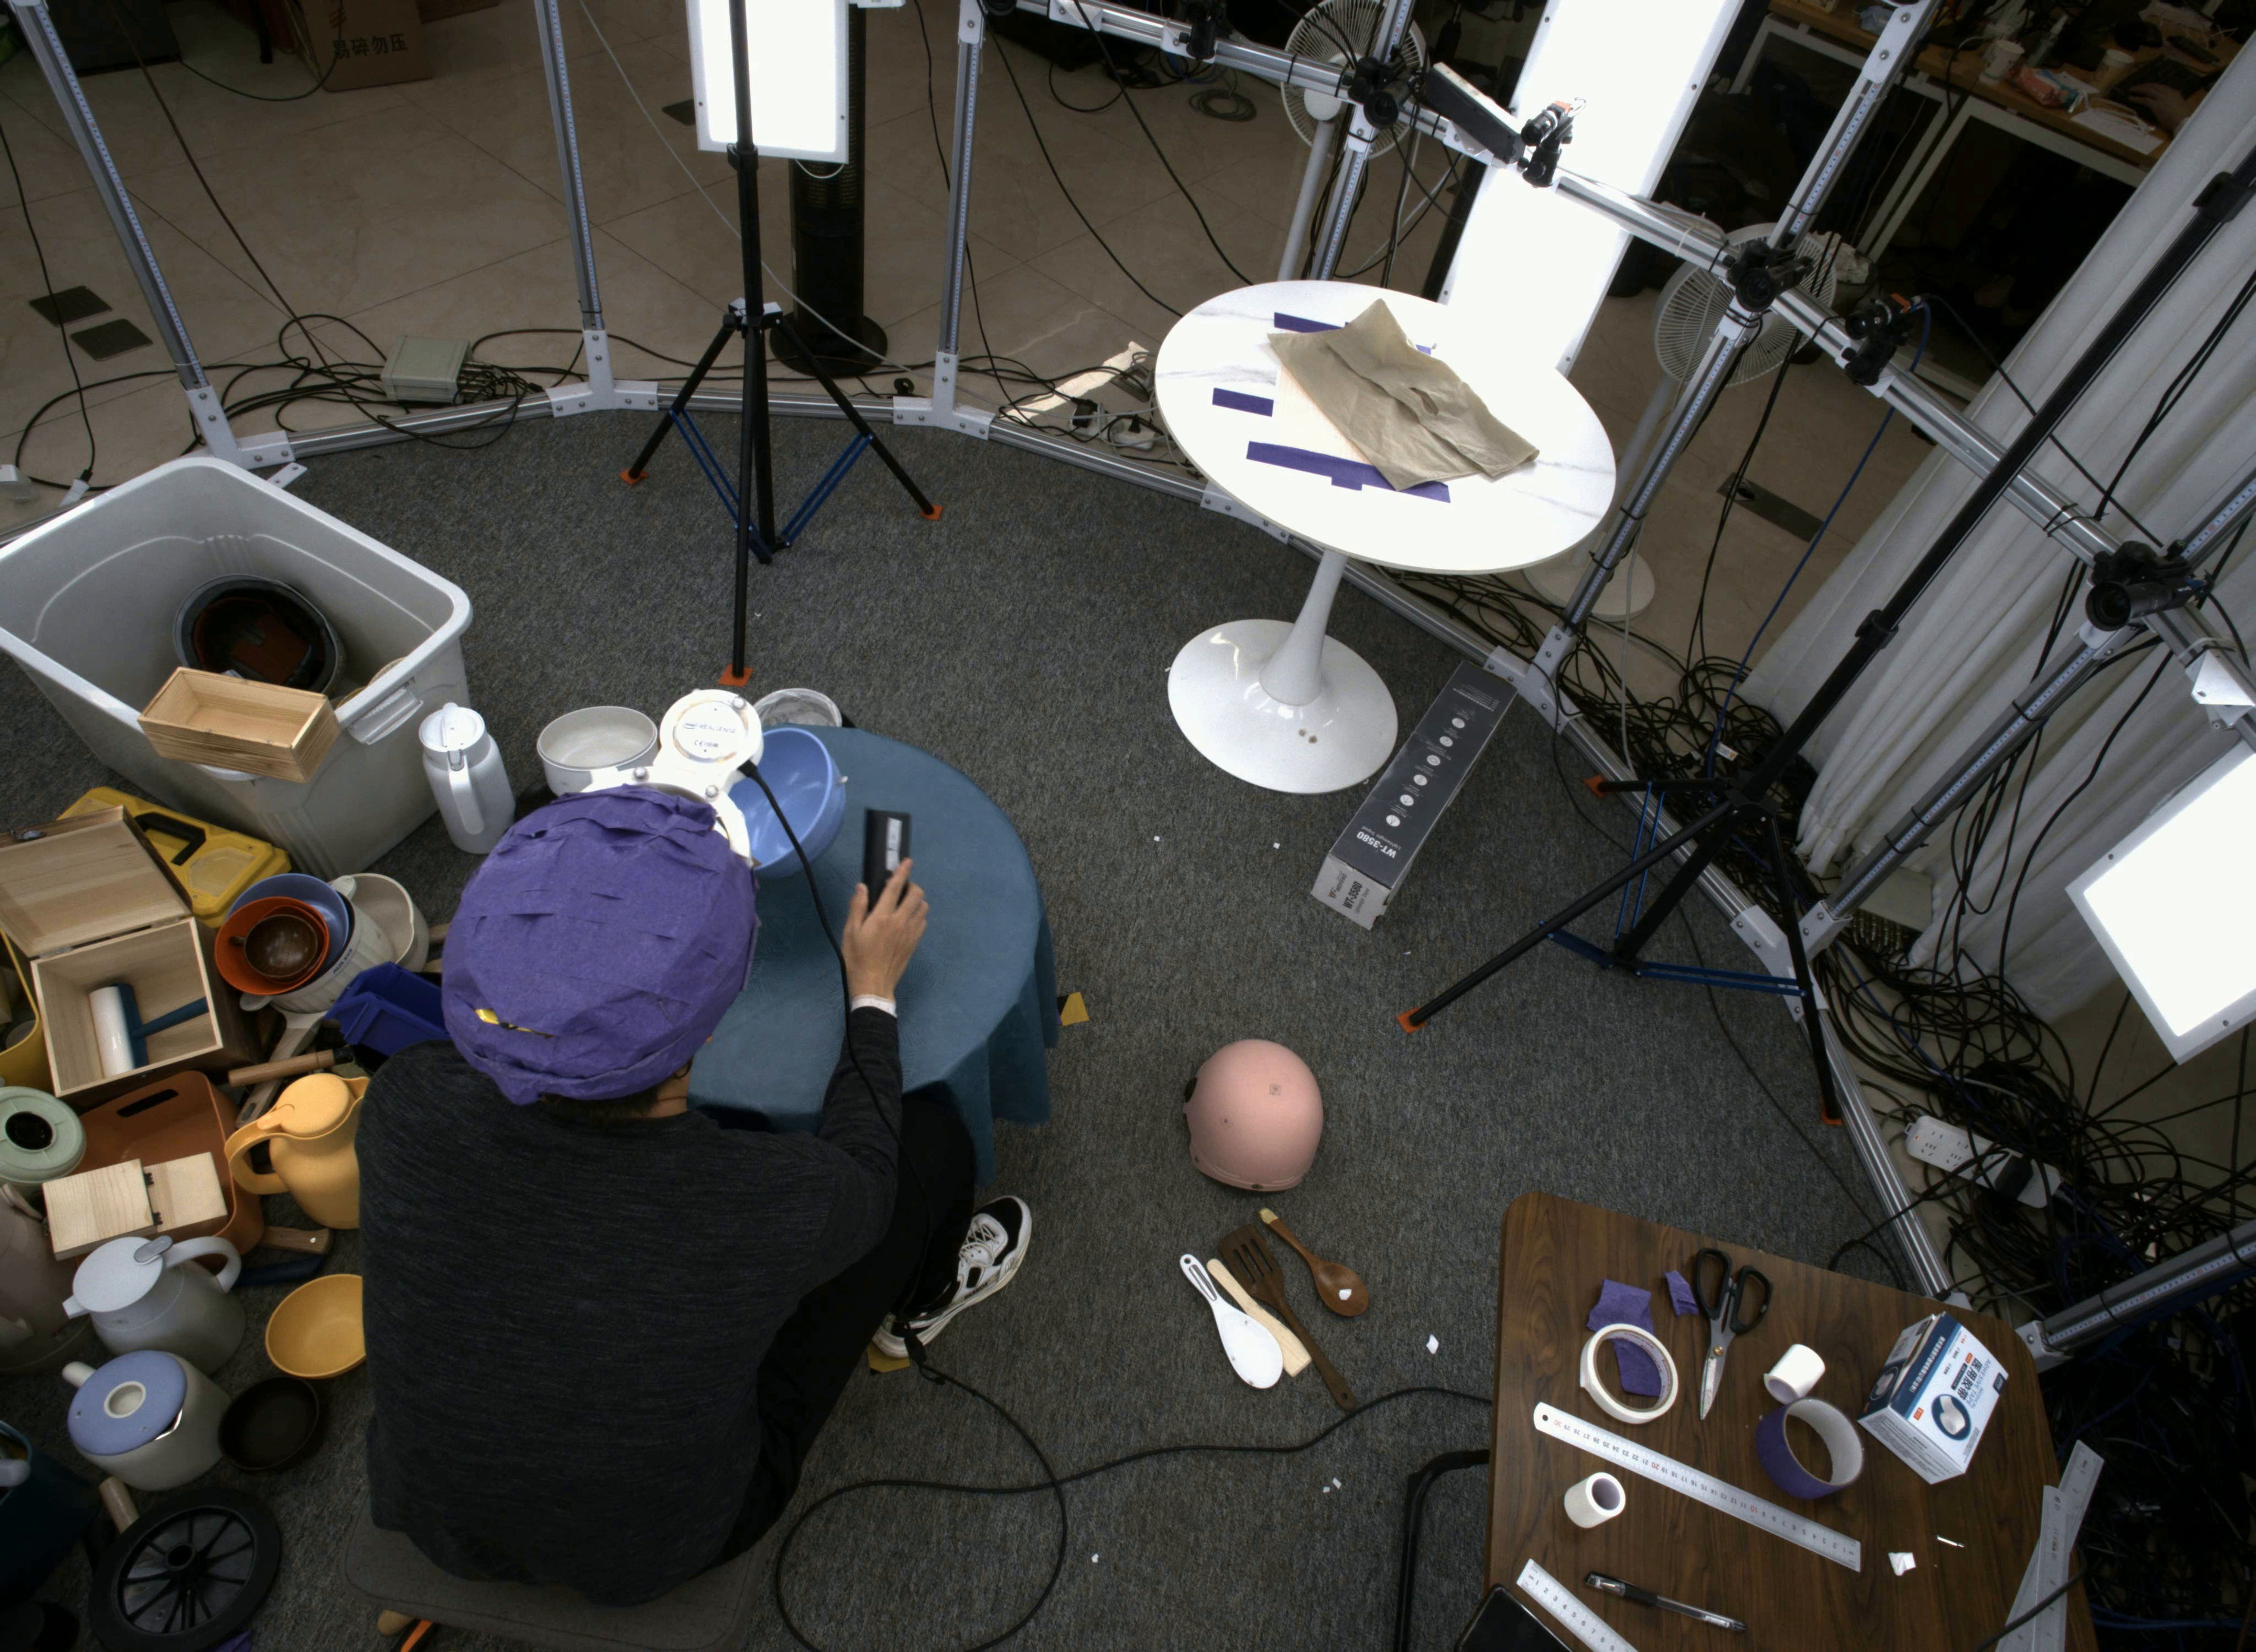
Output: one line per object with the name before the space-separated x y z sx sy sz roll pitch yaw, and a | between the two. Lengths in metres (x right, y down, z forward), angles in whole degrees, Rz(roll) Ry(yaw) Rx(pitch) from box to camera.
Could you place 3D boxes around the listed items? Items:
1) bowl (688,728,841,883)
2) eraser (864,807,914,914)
bowl | -0.433 -0.012 1.597 0.192 0.098 0.194 -6 64 13
eraser | -0.289 0.041 1.569 0.055 0.029 0.126 6 83 -41
